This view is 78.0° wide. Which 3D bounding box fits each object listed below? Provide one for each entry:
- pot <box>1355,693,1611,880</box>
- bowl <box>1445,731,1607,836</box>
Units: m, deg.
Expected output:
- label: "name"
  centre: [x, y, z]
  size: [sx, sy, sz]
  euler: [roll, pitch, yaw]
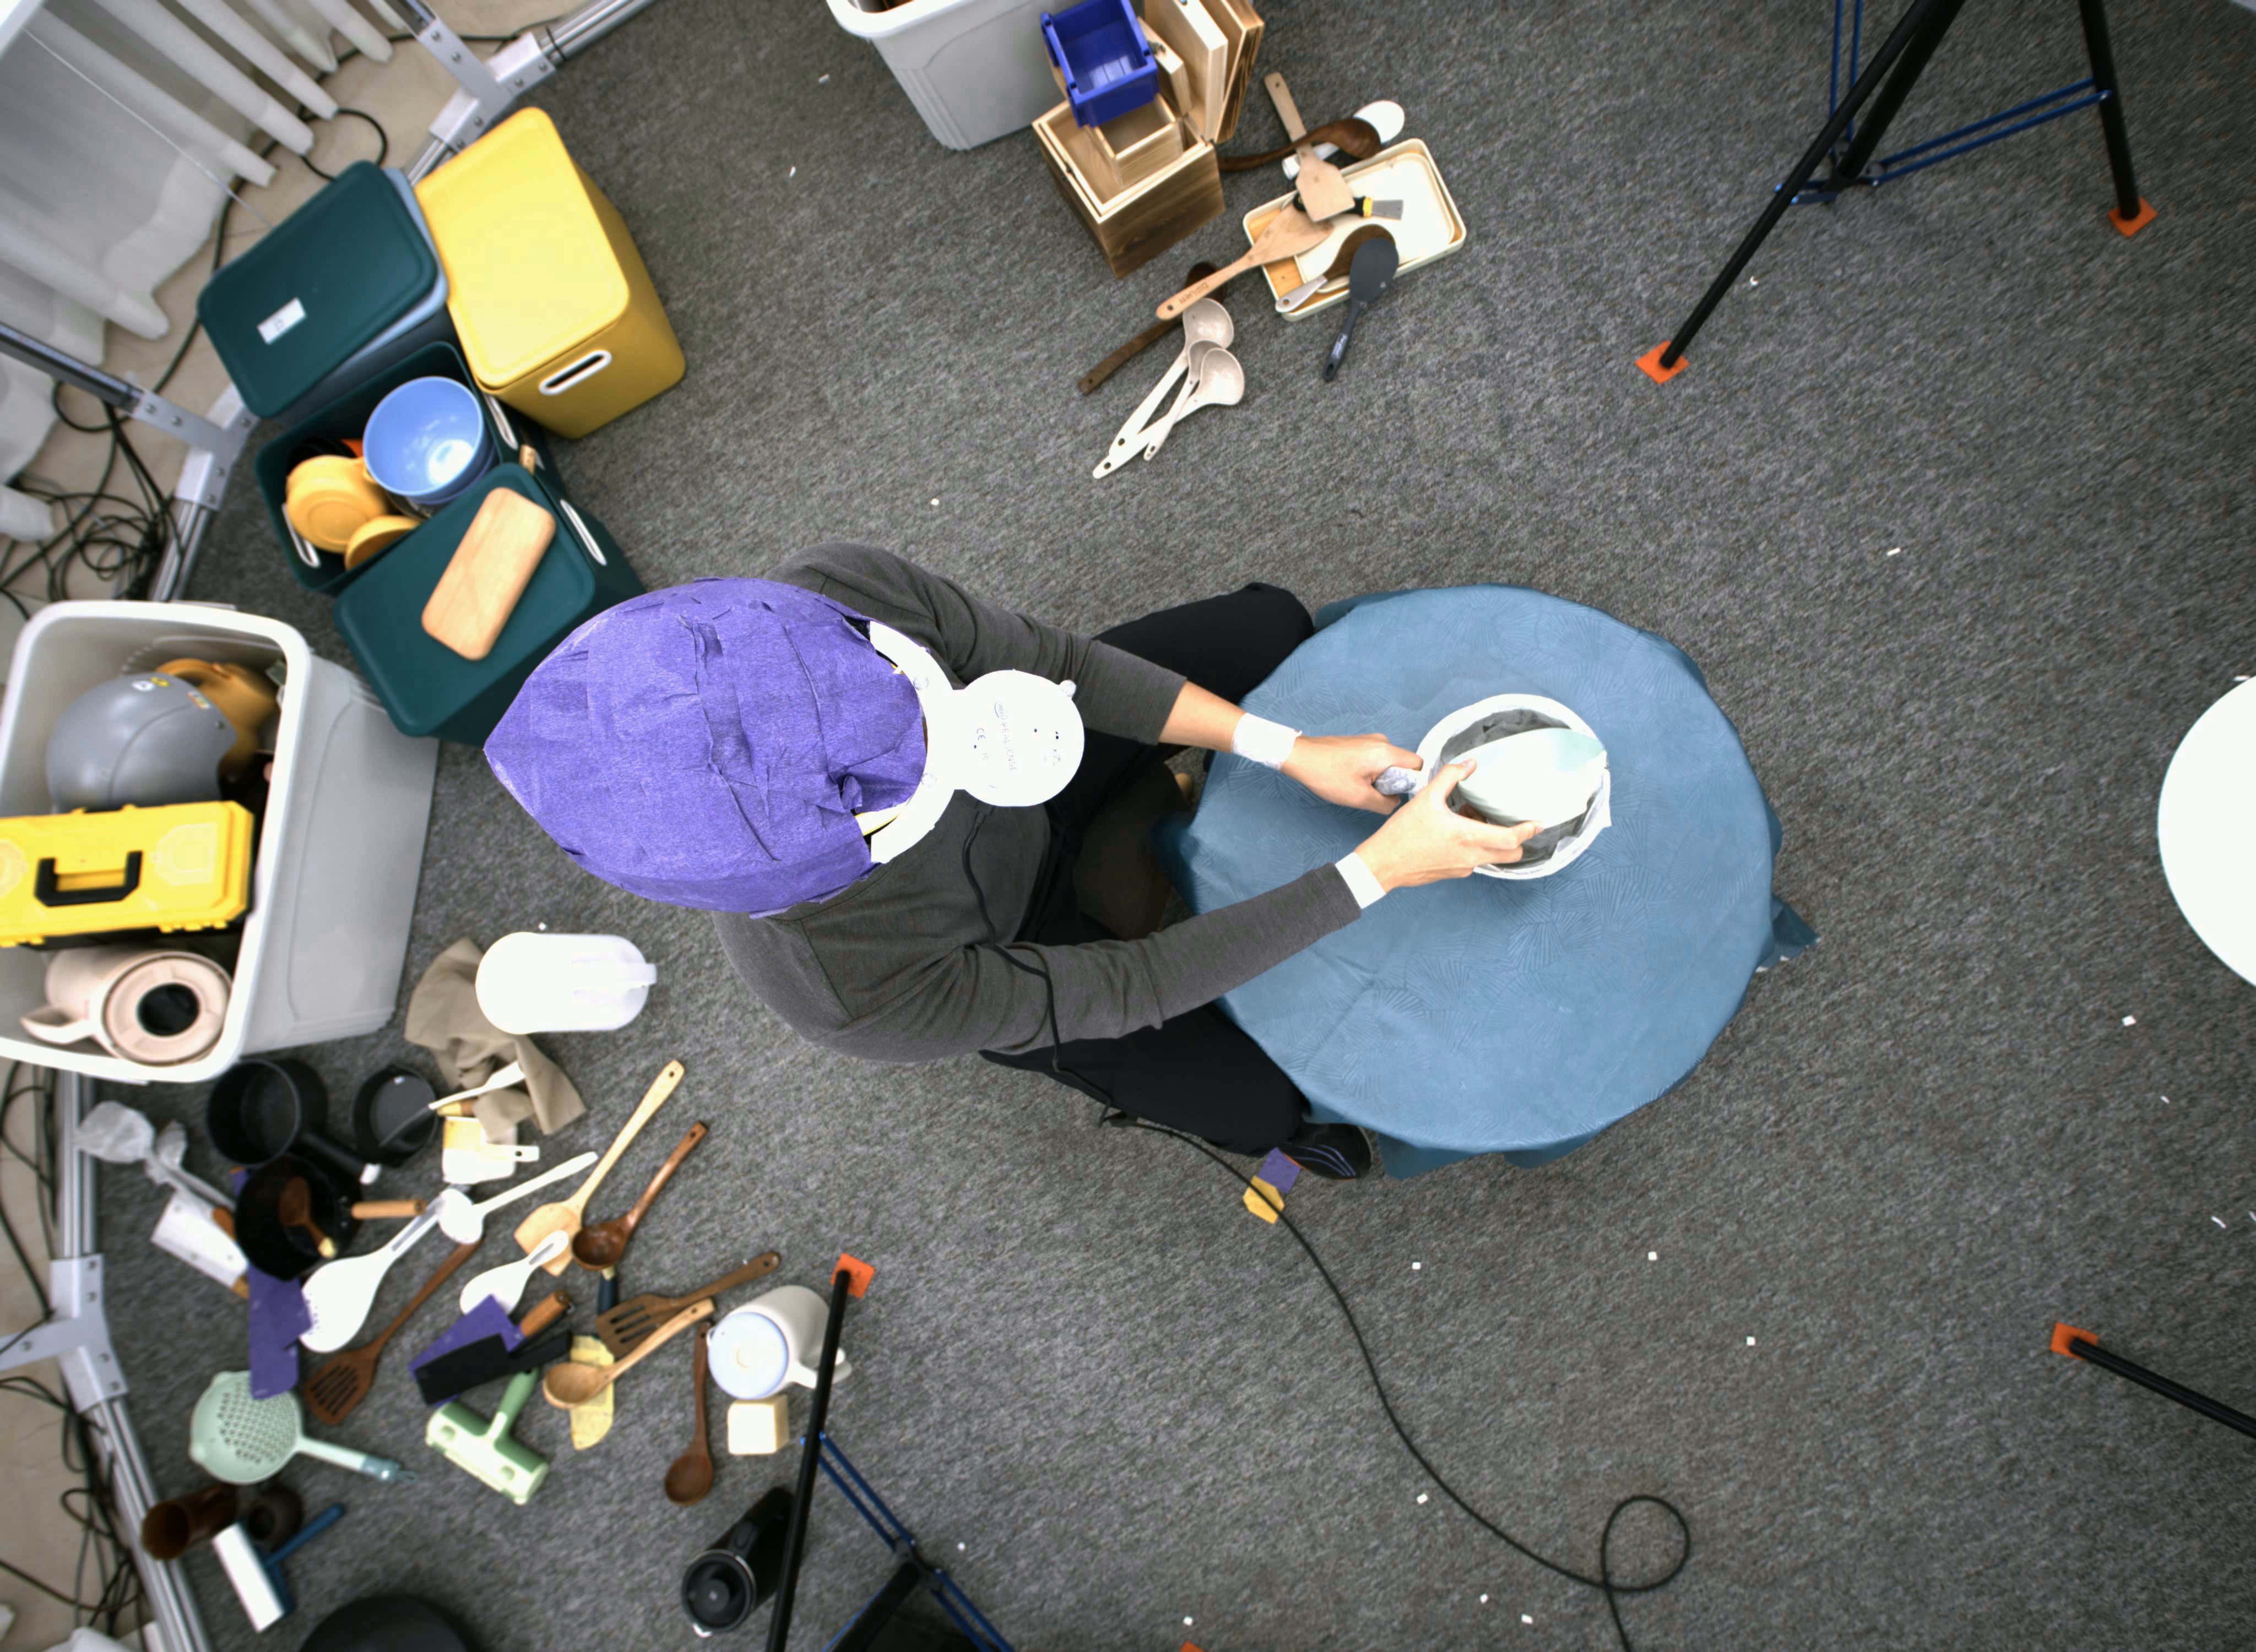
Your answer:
- label: "pot"
  centre: [0.346, -0.042, 1.369]
  size: [0.234, 0.136, 0.179]
  euler: [2, 93, 4]
- label: "bowl"
  centre: [0.376, -0.038, 1.288]
  size: [0.152, 0.148, 0.059]
  euler: [-13, 110, 9]
